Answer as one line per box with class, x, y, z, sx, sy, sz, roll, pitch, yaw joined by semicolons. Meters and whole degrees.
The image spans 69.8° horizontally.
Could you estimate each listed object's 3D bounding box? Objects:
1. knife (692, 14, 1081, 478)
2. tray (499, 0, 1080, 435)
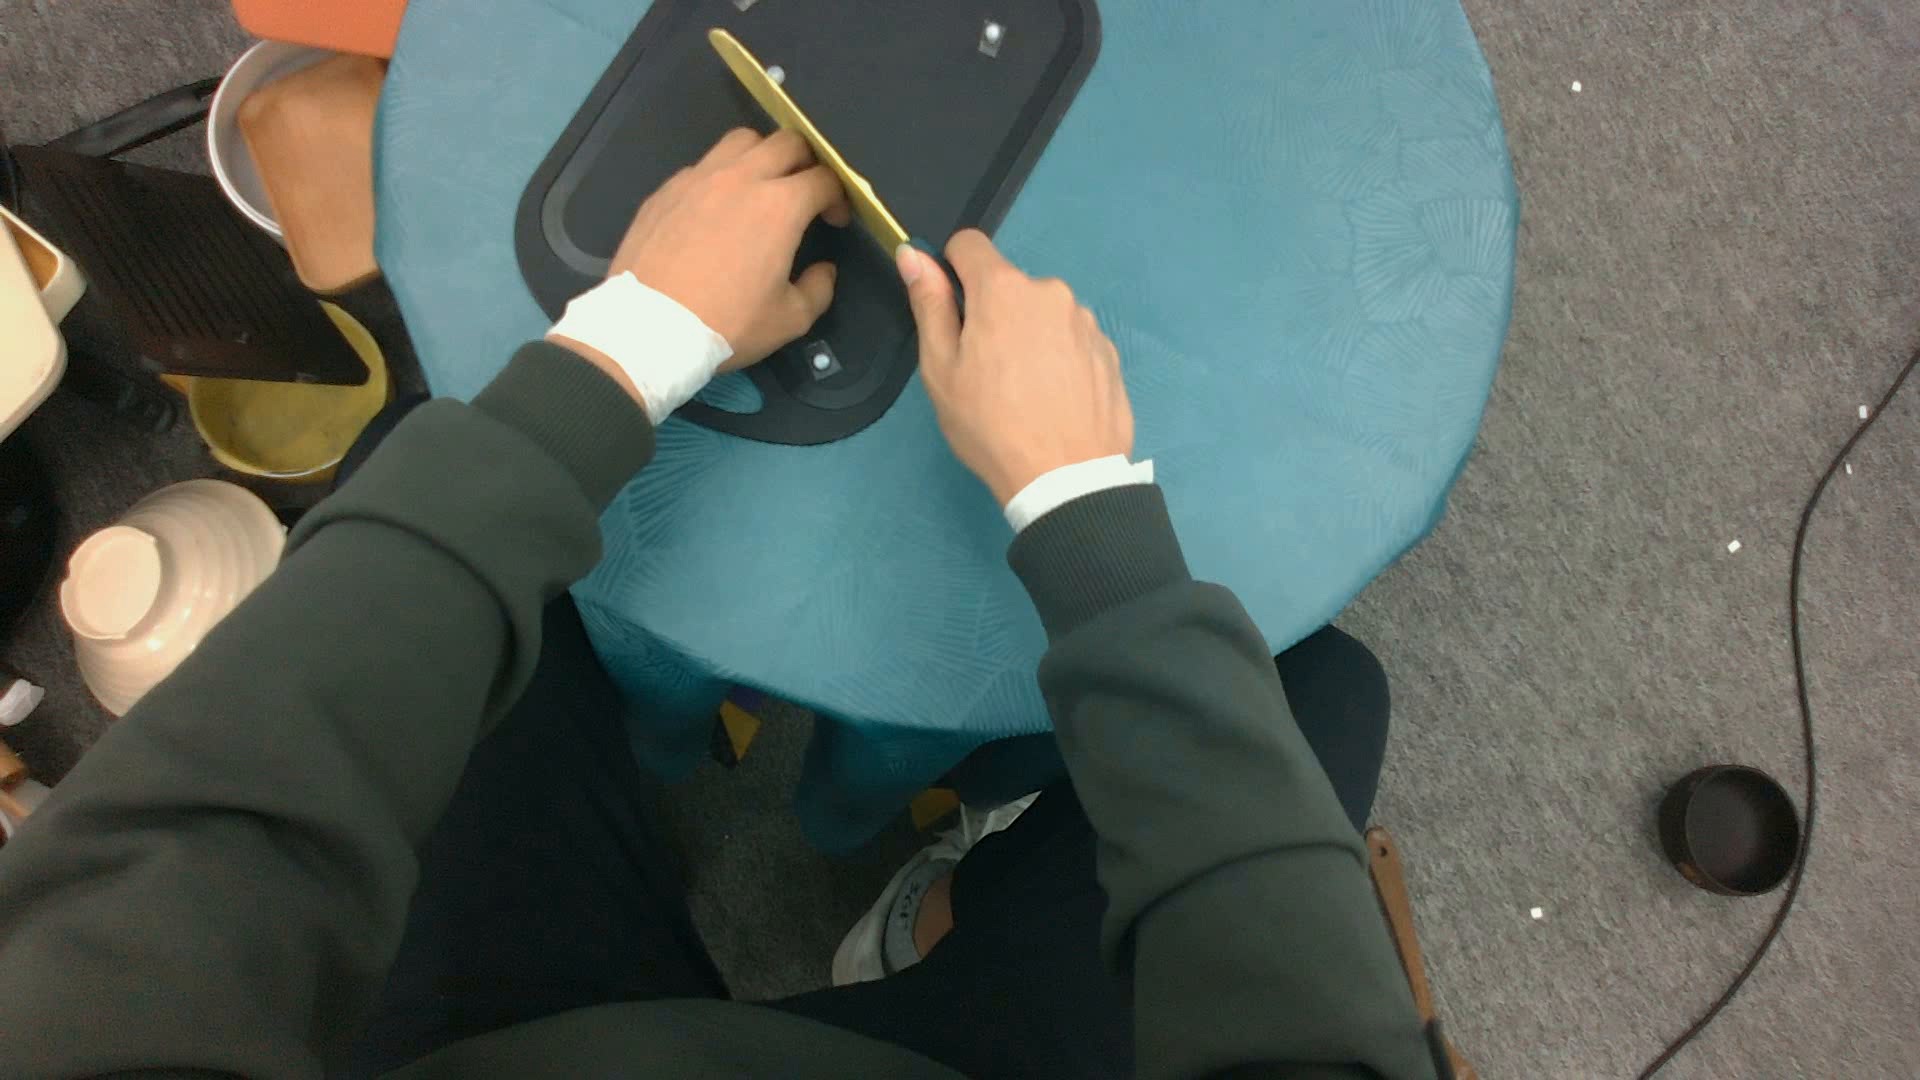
knife;-0.040;-0.142;0.655;0.027;0.081;0.289;-39;84;-1
tray;-0.084;-0.212;0.710;0.211;0.010;0.326;30;76;-3
